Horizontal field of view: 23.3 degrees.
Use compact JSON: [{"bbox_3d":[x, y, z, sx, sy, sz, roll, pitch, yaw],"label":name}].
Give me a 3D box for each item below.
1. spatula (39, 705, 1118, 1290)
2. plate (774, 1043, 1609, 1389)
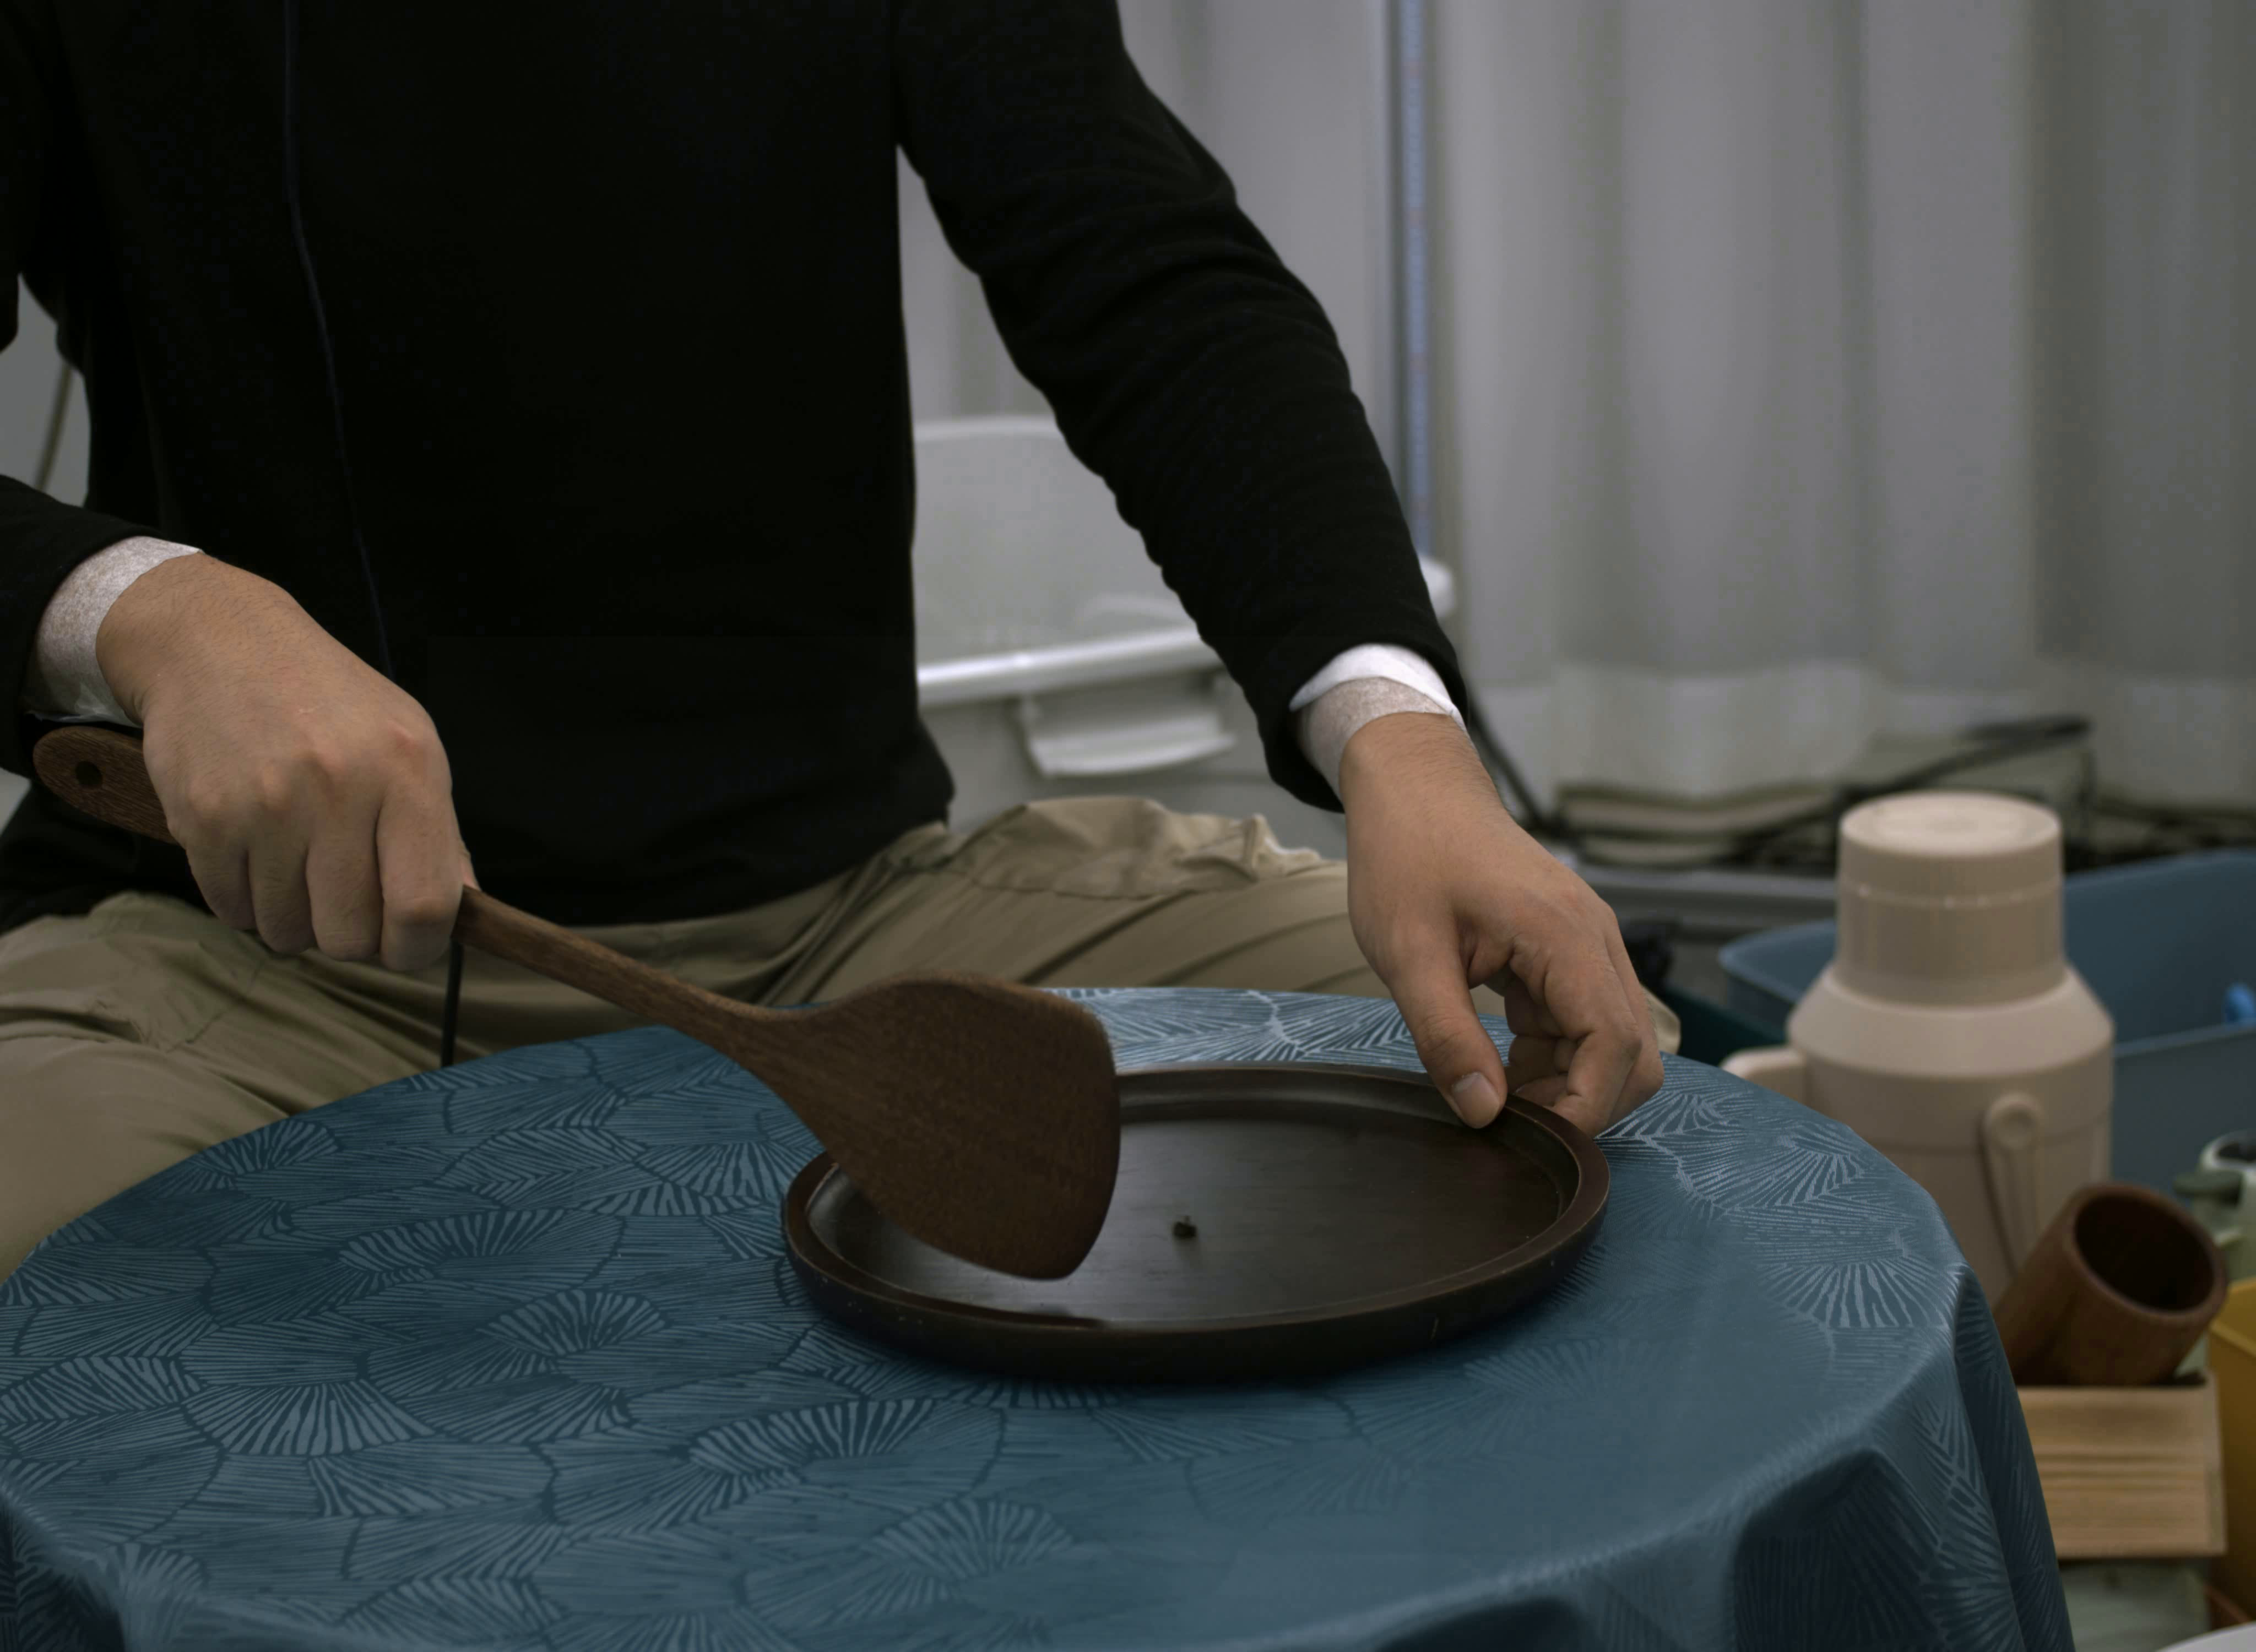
[{"bbox_3d":[-0.171,0.035,1.637,0.388,0.095,0.016,22,27,23],"label":"spatula"},{"bbox_3d":[0.020,0.118,1.651,0.254,0.029,0.256,-4,15,1],"label":"plate"}]
